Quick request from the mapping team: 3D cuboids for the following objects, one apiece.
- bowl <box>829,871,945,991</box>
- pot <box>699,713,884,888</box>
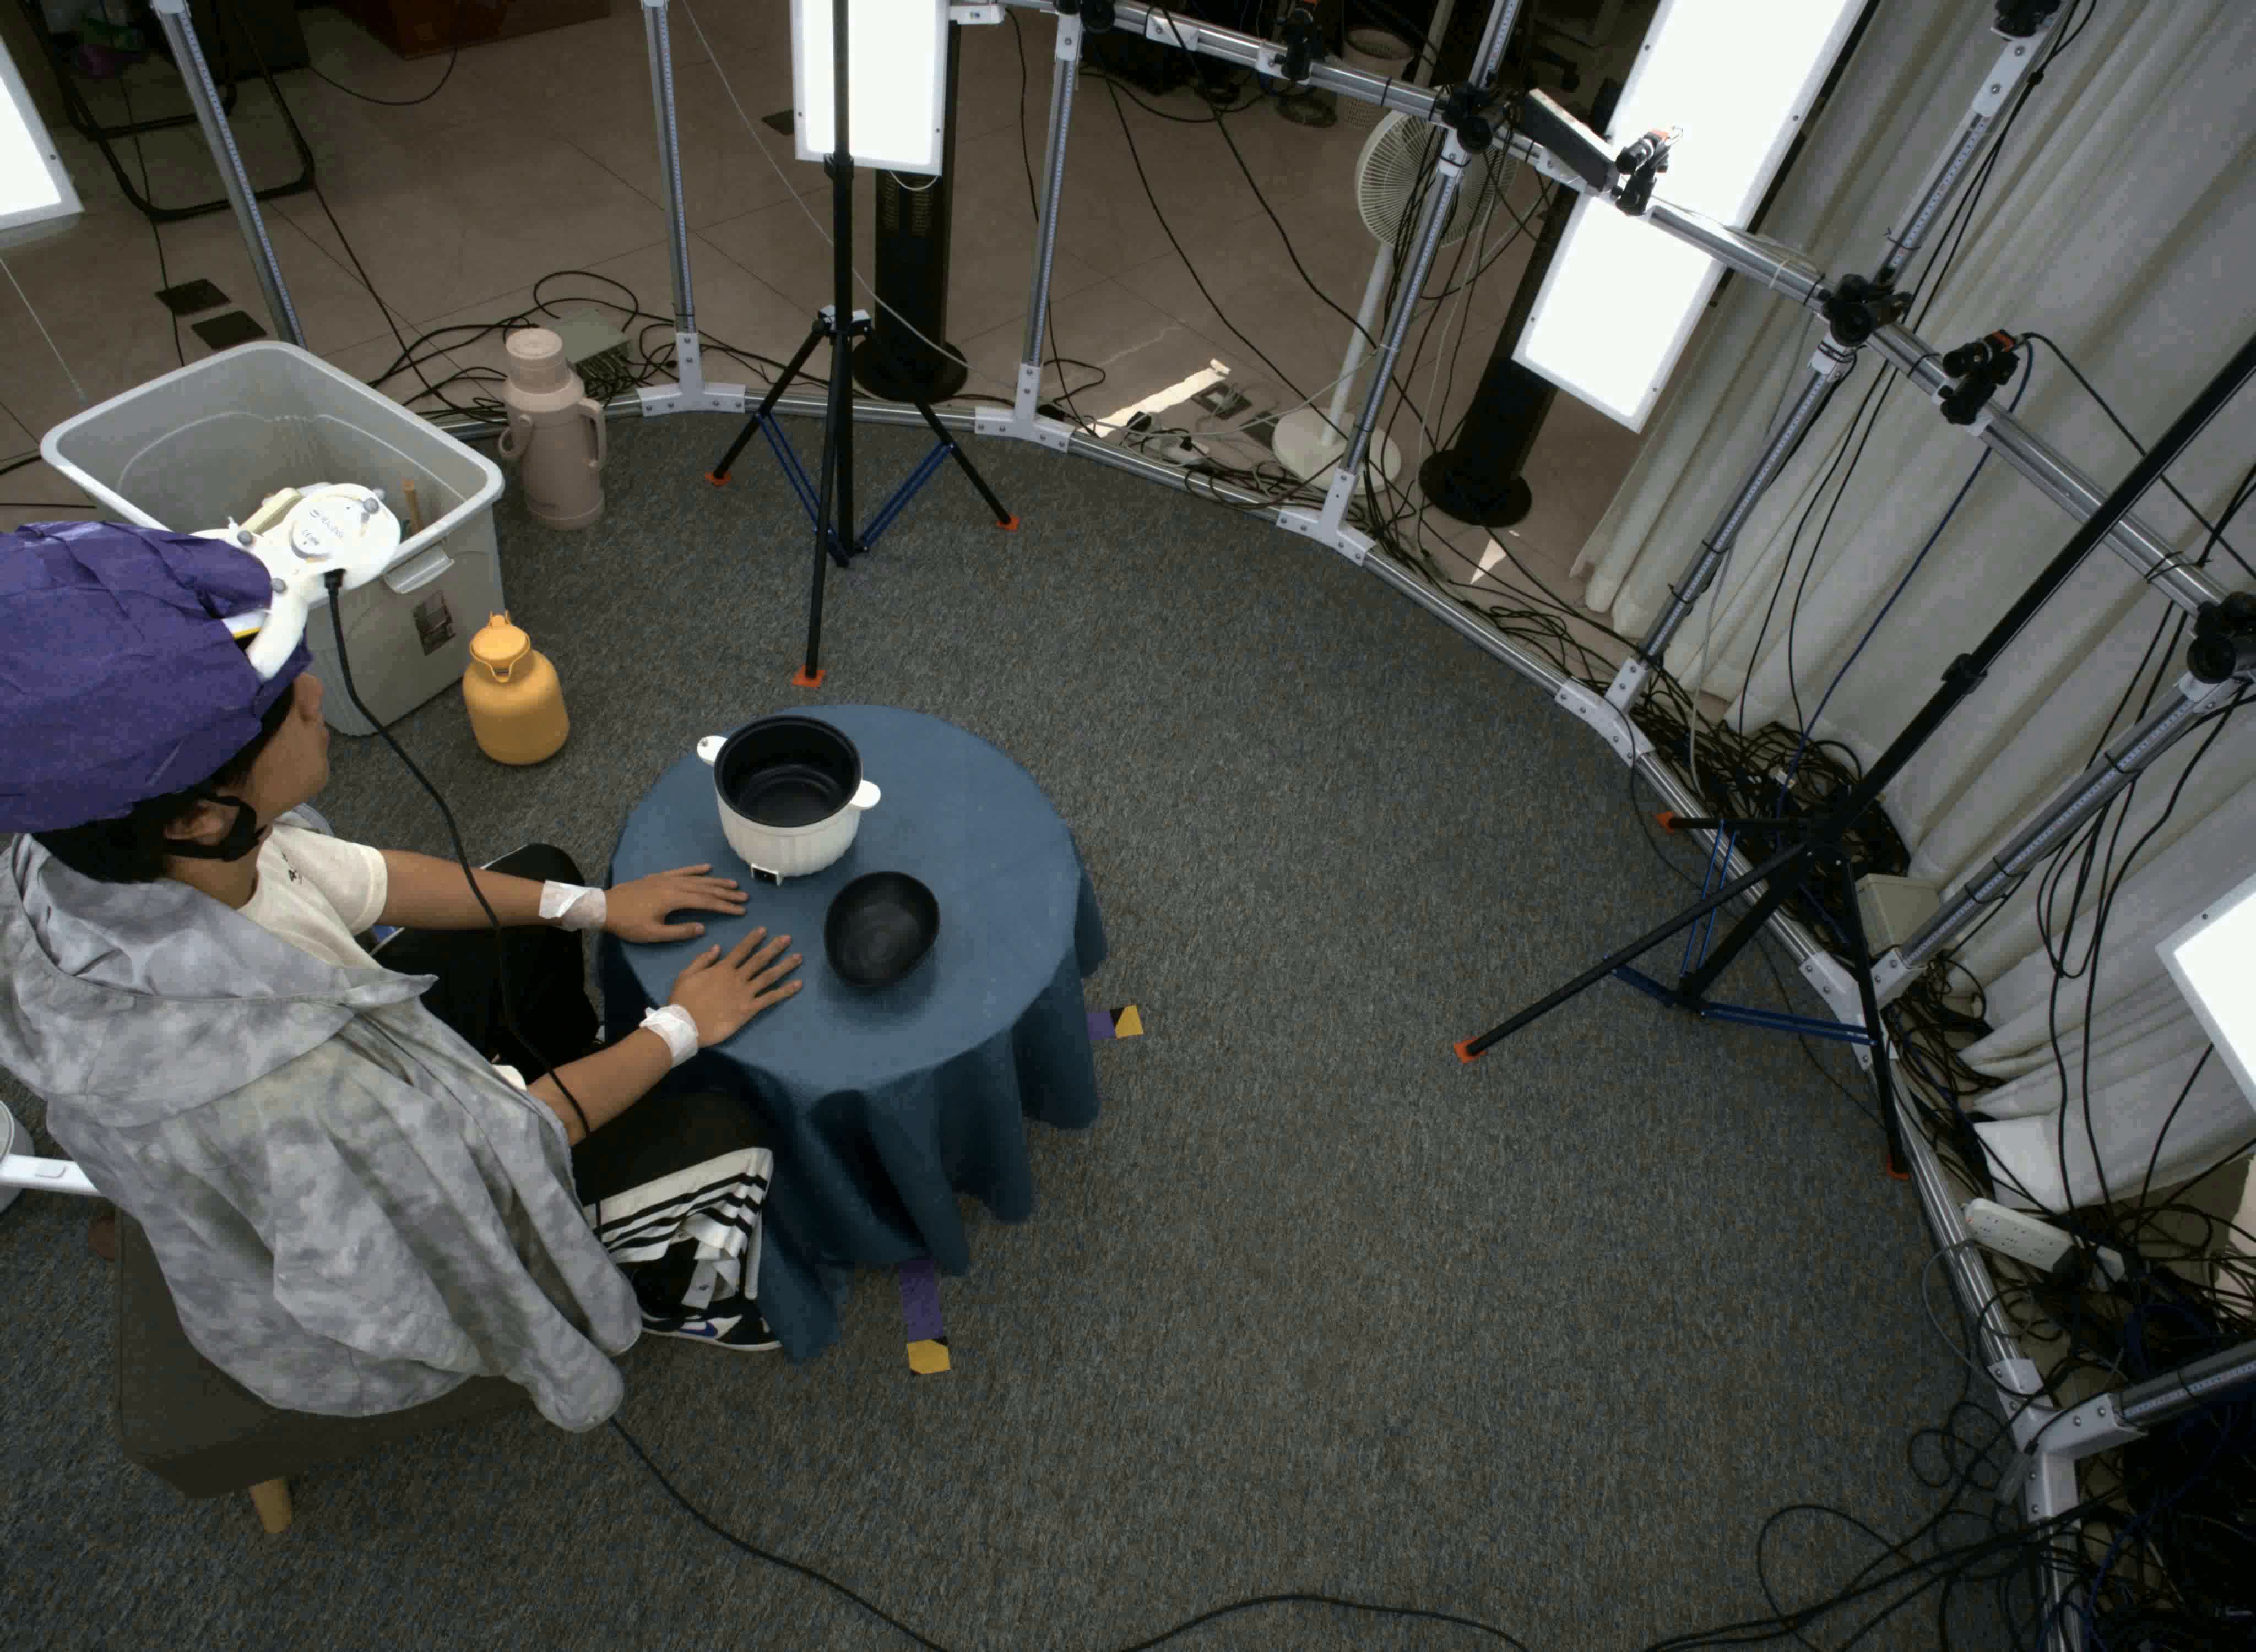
[{"bbox_3d":[-0.298,0.138,1.614,0.136,0.068,0.168,16,53,1],"label":"bowl"},{"bbox_3d":[-0.427,-0.036,1.663,0.238,0.145,0.188,17,55,-1],"label":"pot"}]
